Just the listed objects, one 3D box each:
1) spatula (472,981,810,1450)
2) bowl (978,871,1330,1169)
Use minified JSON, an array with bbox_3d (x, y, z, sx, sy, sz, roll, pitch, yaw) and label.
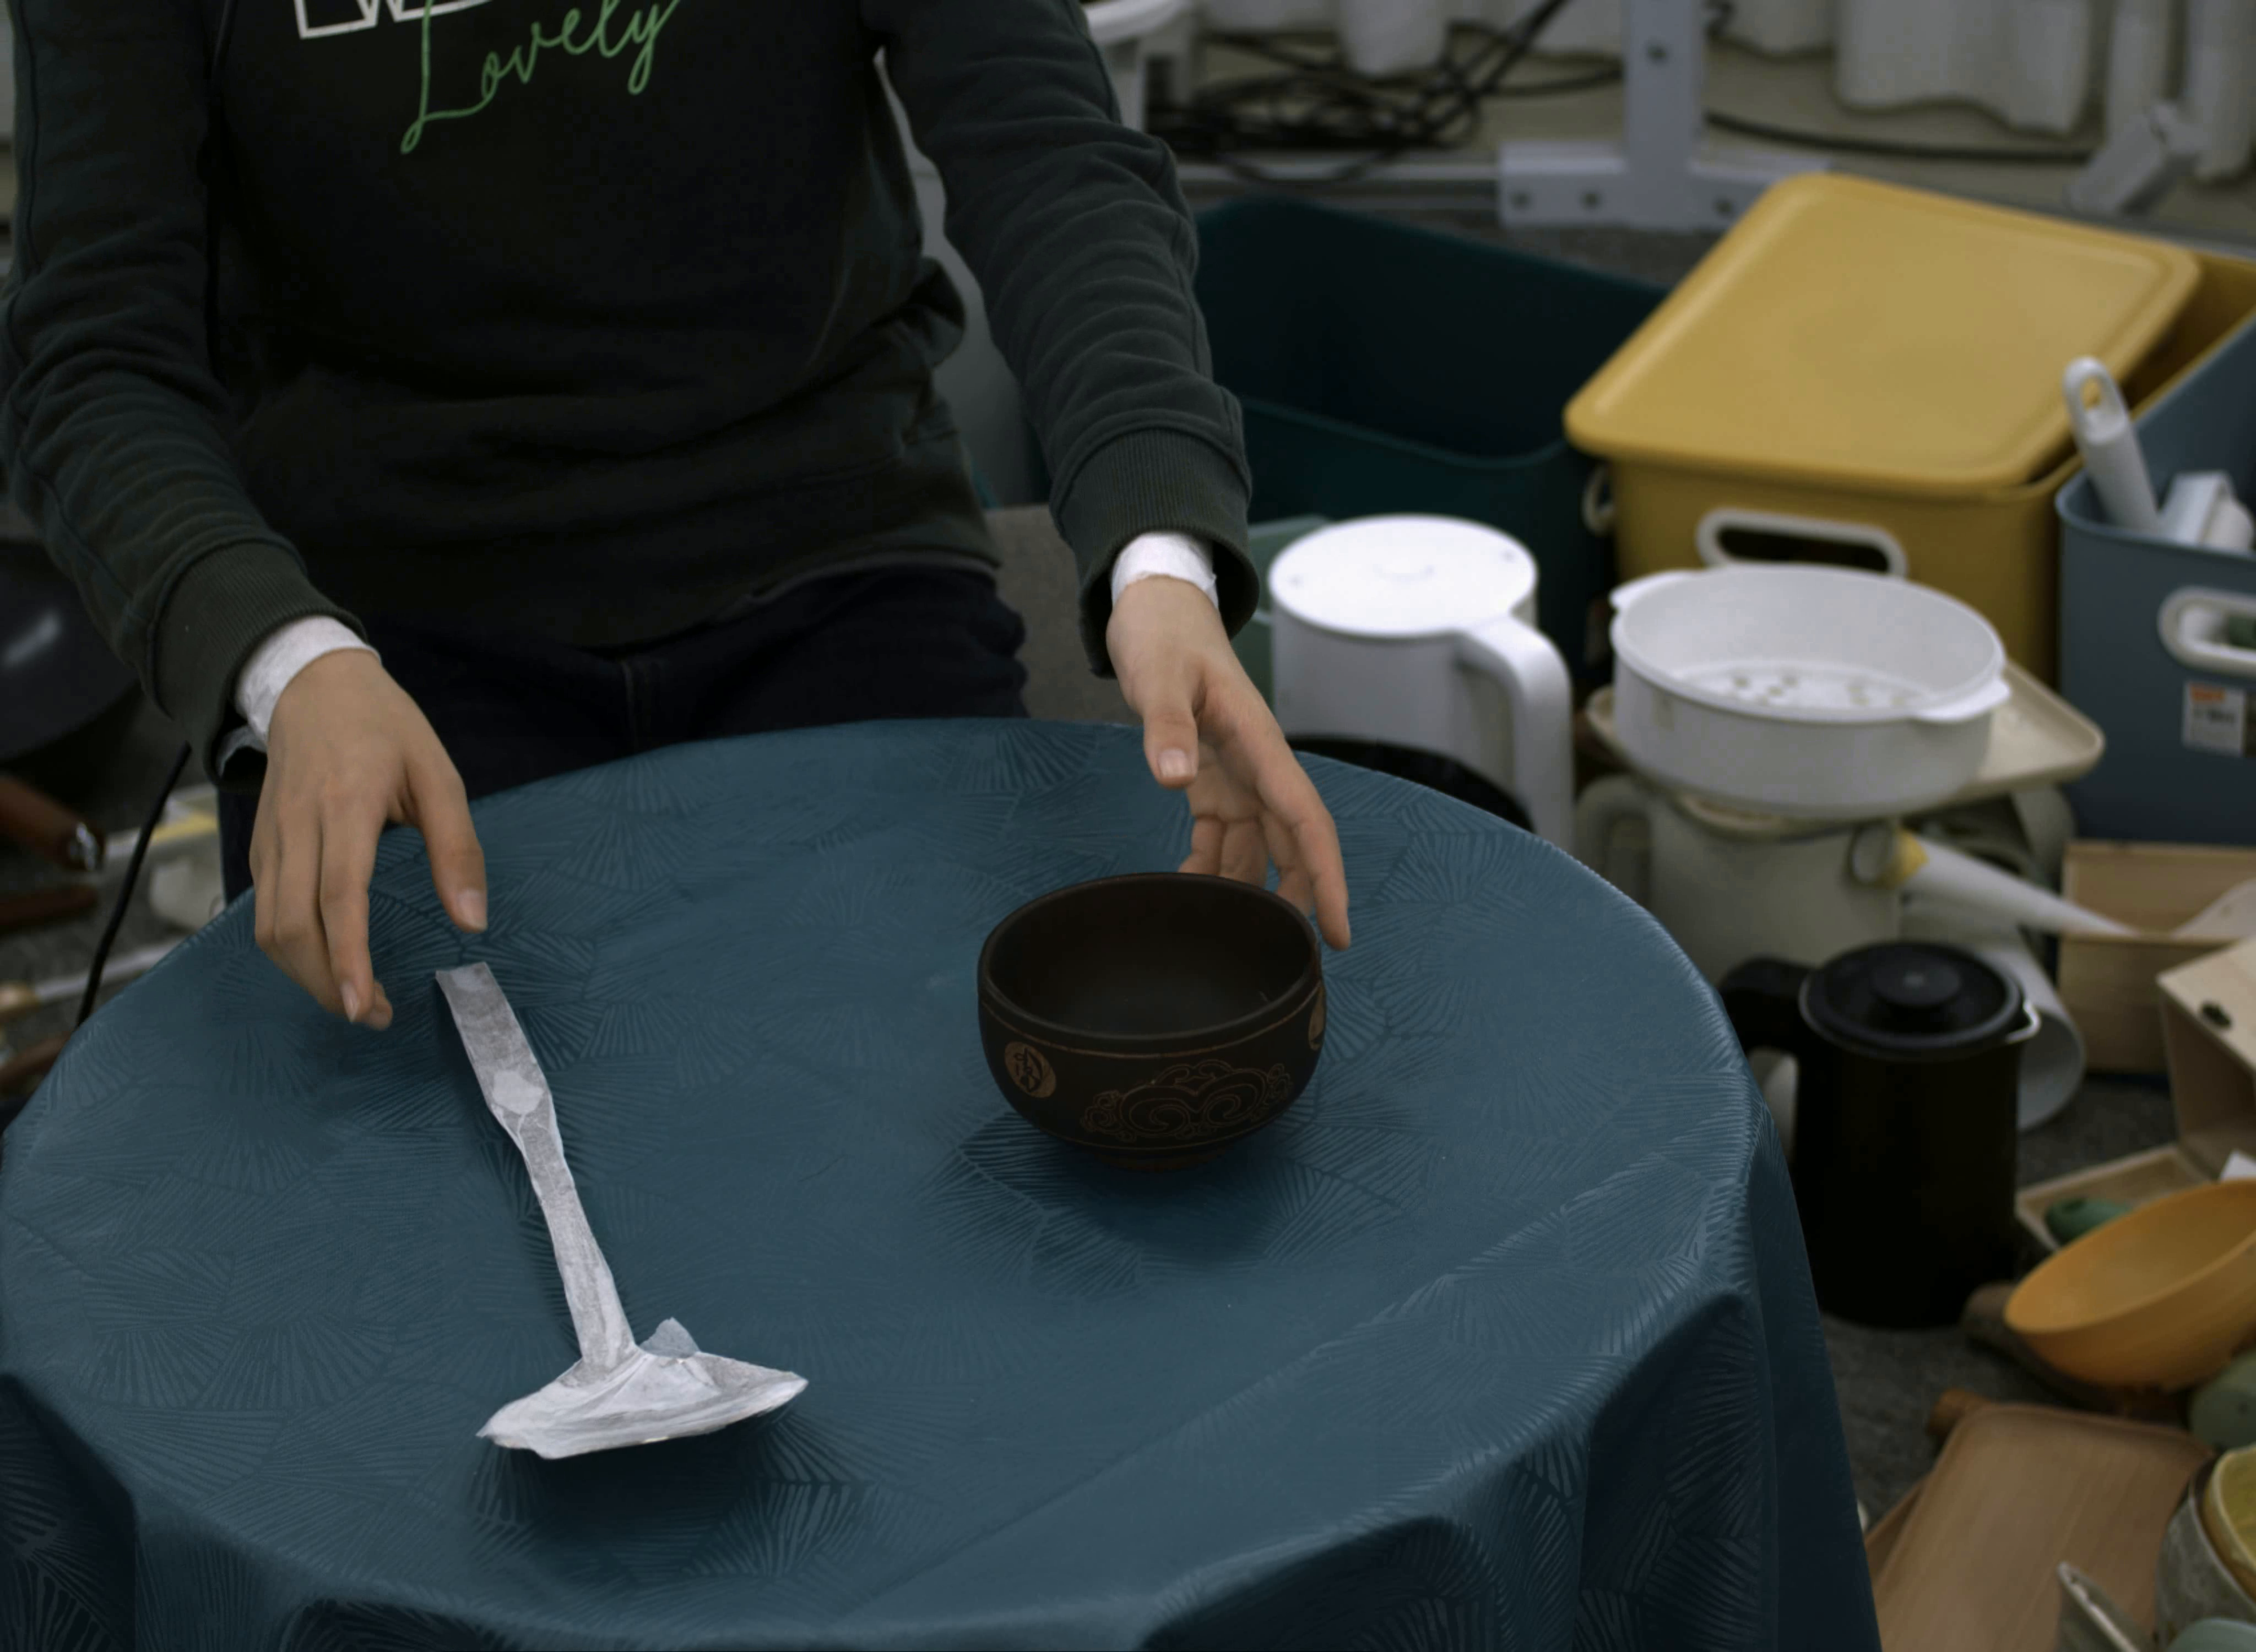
[{"bbox_3d":[-0.183,0.120,1.842,0.098,0.044,0.369,-11,28,-11],"label":"spatula"},{"bbox_3d":[0.009,0.071,1.881,0.117,0.069,0.120,-1,26,1],"label":"bowl"}]
